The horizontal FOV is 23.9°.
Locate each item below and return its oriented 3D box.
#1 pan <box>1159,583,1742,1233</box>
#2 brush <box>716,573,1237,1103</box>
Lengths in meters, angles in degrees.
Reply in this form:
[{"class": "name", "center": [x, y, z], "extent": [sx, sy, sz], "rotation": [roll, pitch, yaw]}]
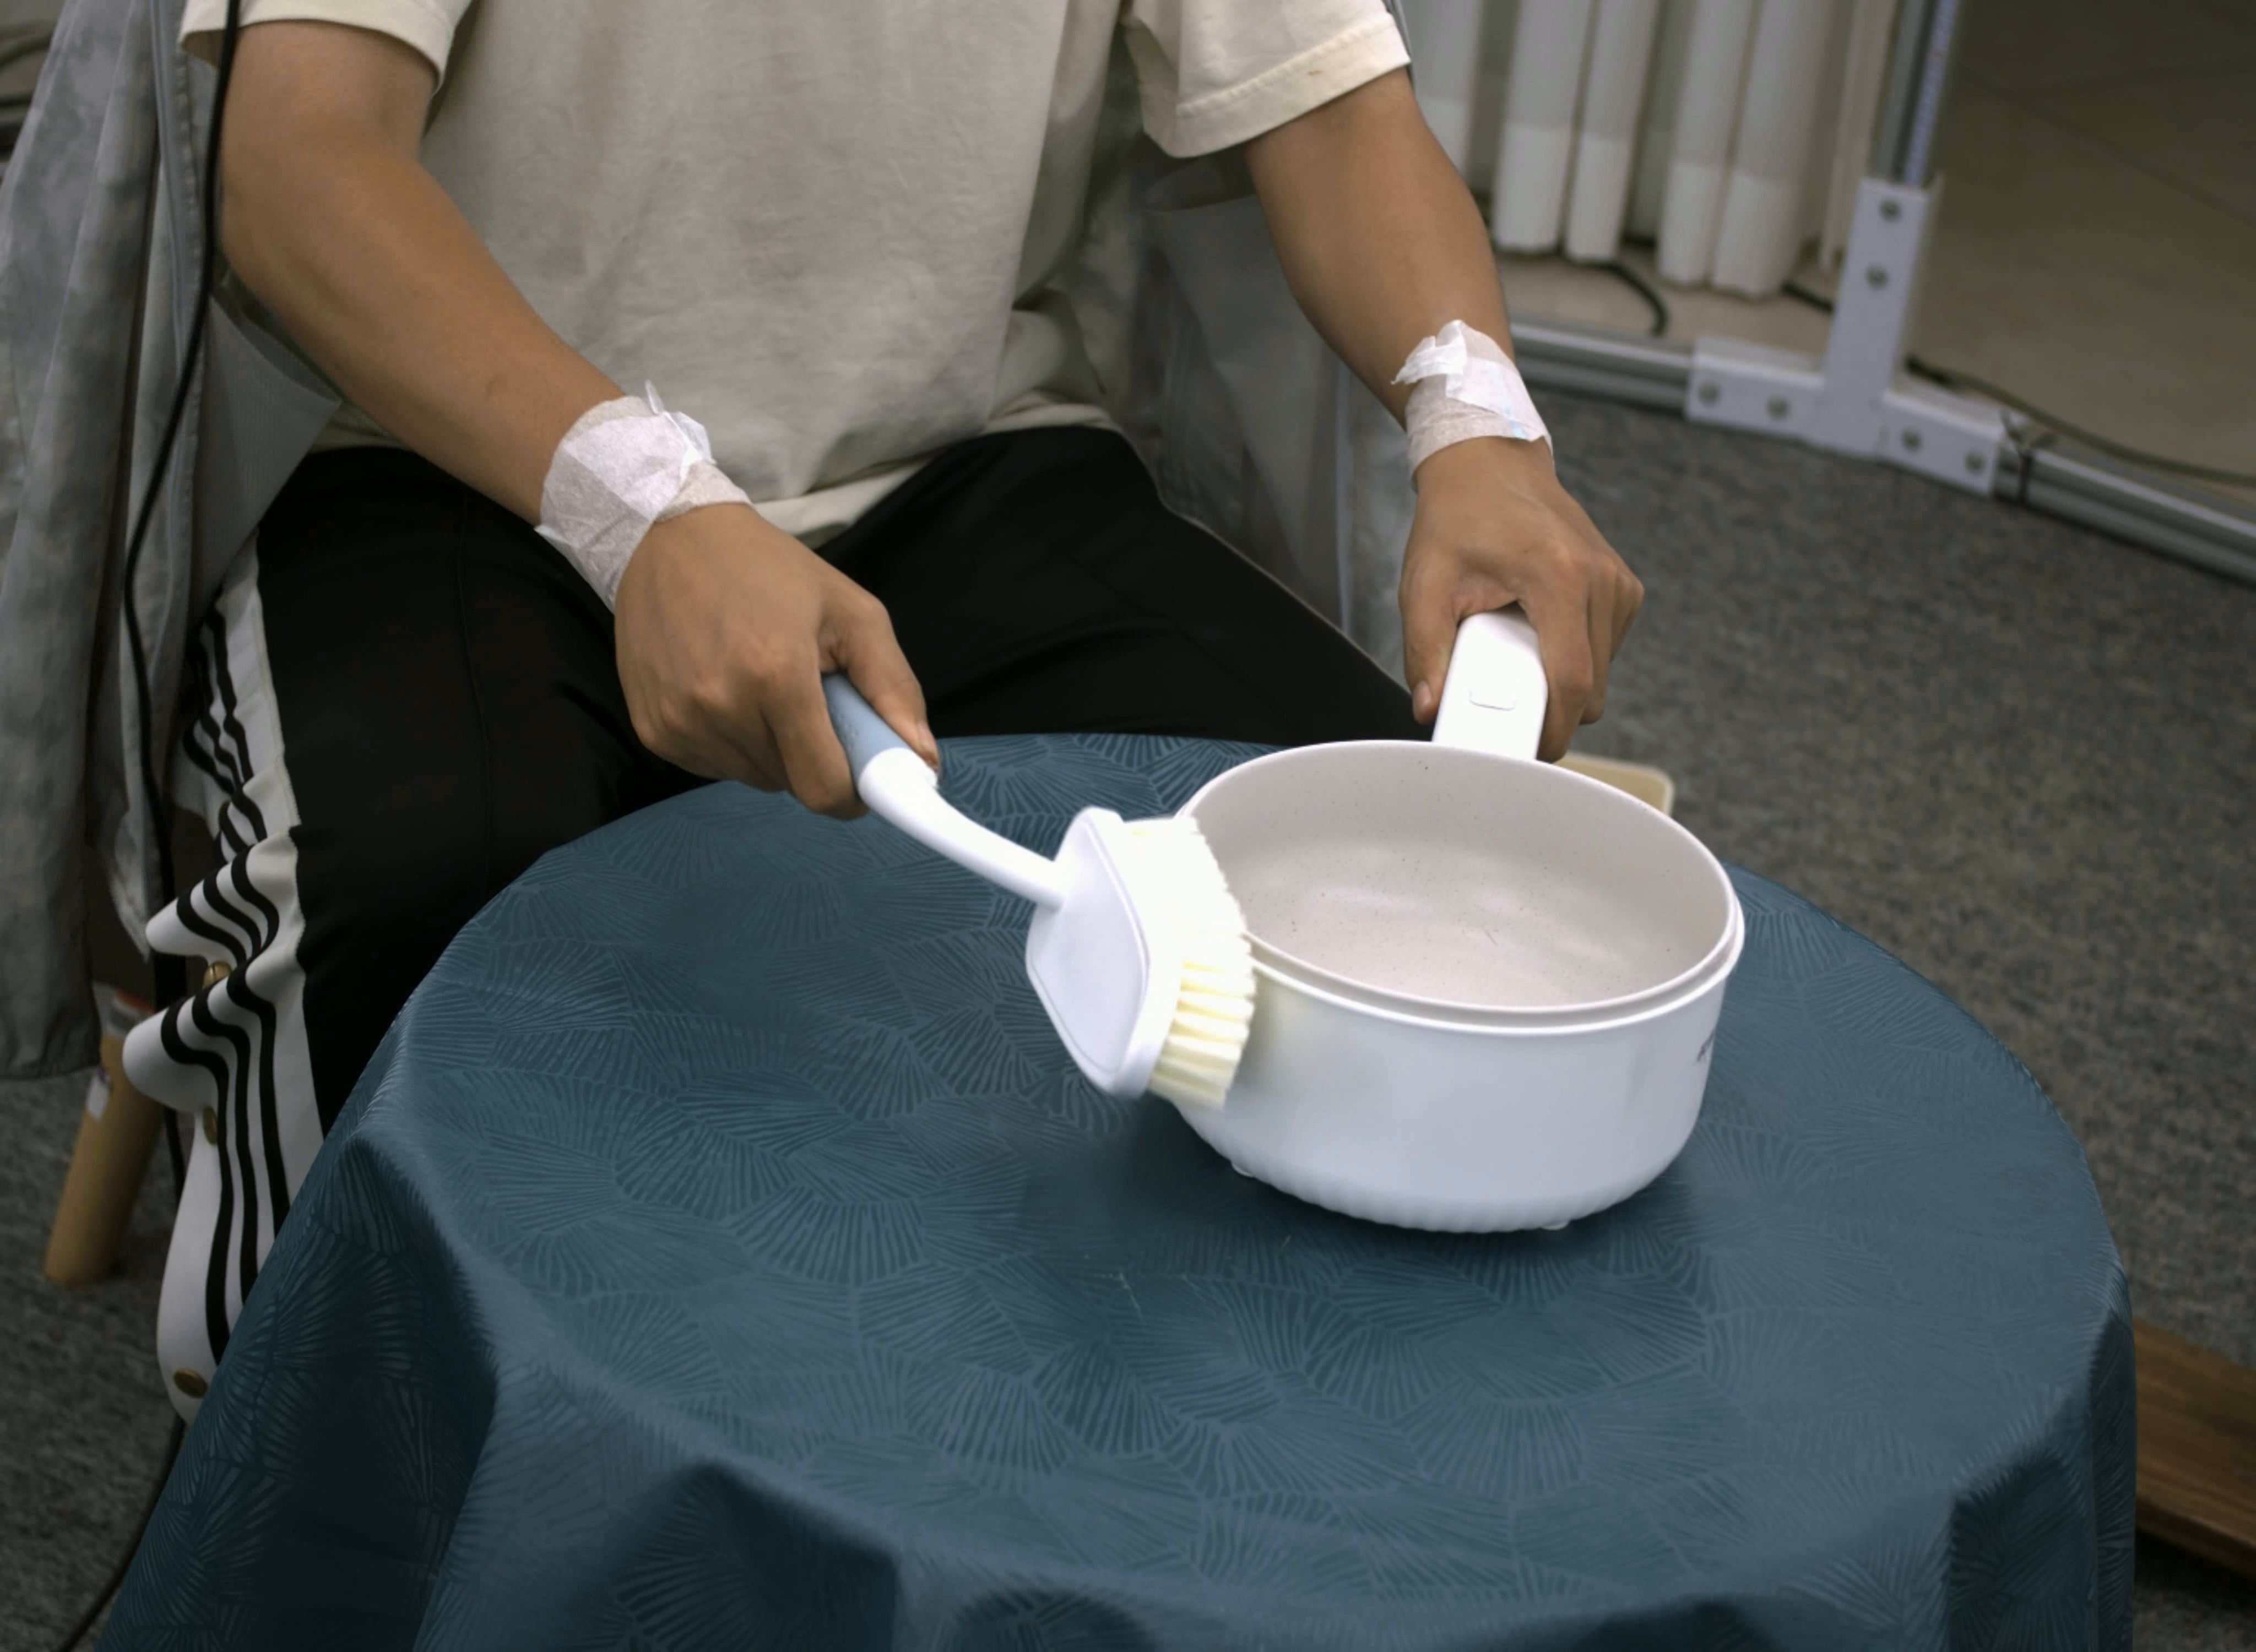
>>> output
[{"class": "pan", "center": [0.117, 0.026, 1.912], "extent": [0.201, 0.102, 0.356], "rotation": [10, 27, 5]}, {"class": "brush", "center": [-0.040, -0.006, 1.843], "extent": [0.083, 0.084, 0.328], "rotation": [-40, 42, -2]}]
